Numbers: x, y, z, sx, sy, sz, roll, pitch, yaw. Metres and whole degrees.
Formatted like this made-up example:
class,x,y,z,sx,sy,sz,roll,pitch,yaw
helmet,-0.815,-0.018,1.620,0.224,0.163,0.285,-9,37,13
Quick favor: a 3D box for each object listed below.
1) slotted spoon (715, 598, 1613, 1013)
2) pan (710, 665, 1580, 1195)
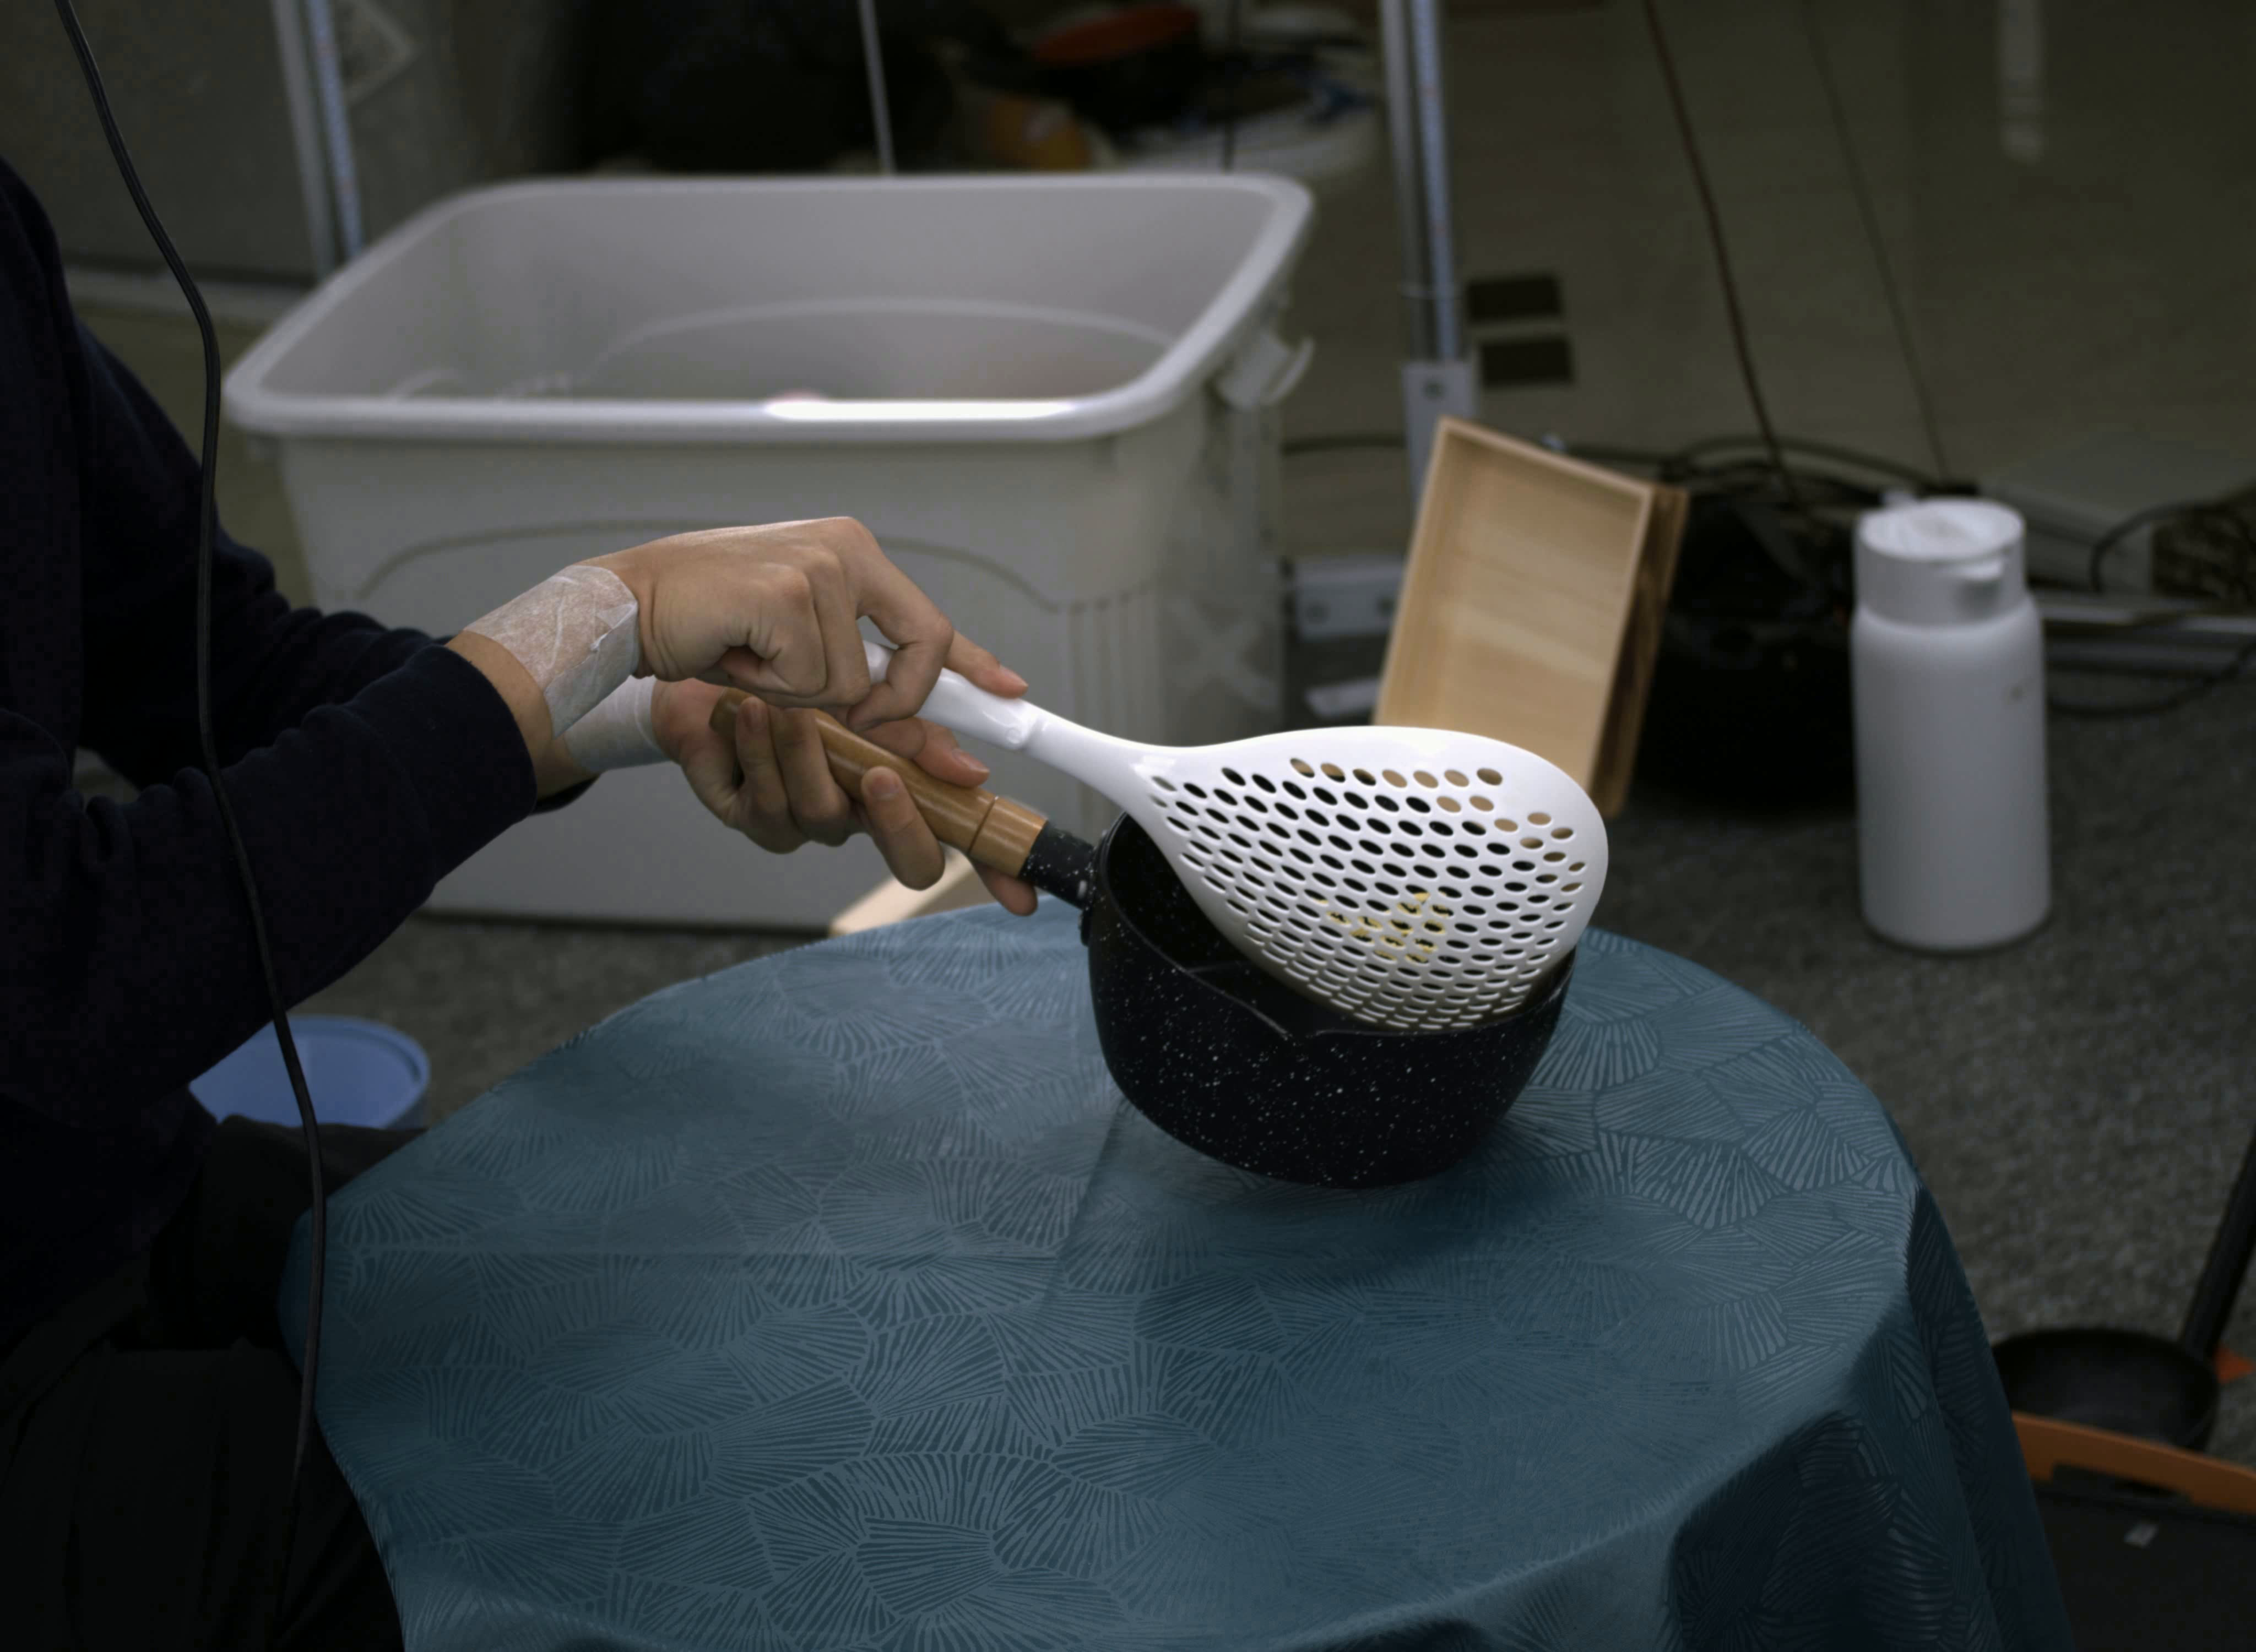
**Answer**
class,x,y,z,sx,sy,sz,roll,pitch,yaw
slotted spoon,0.010,-0.013,2.082,0.348,0.139,0.049,24,33,-6
pan,-0.003,0.032,2.148,0.342,0.110,0.204,16,32,4
